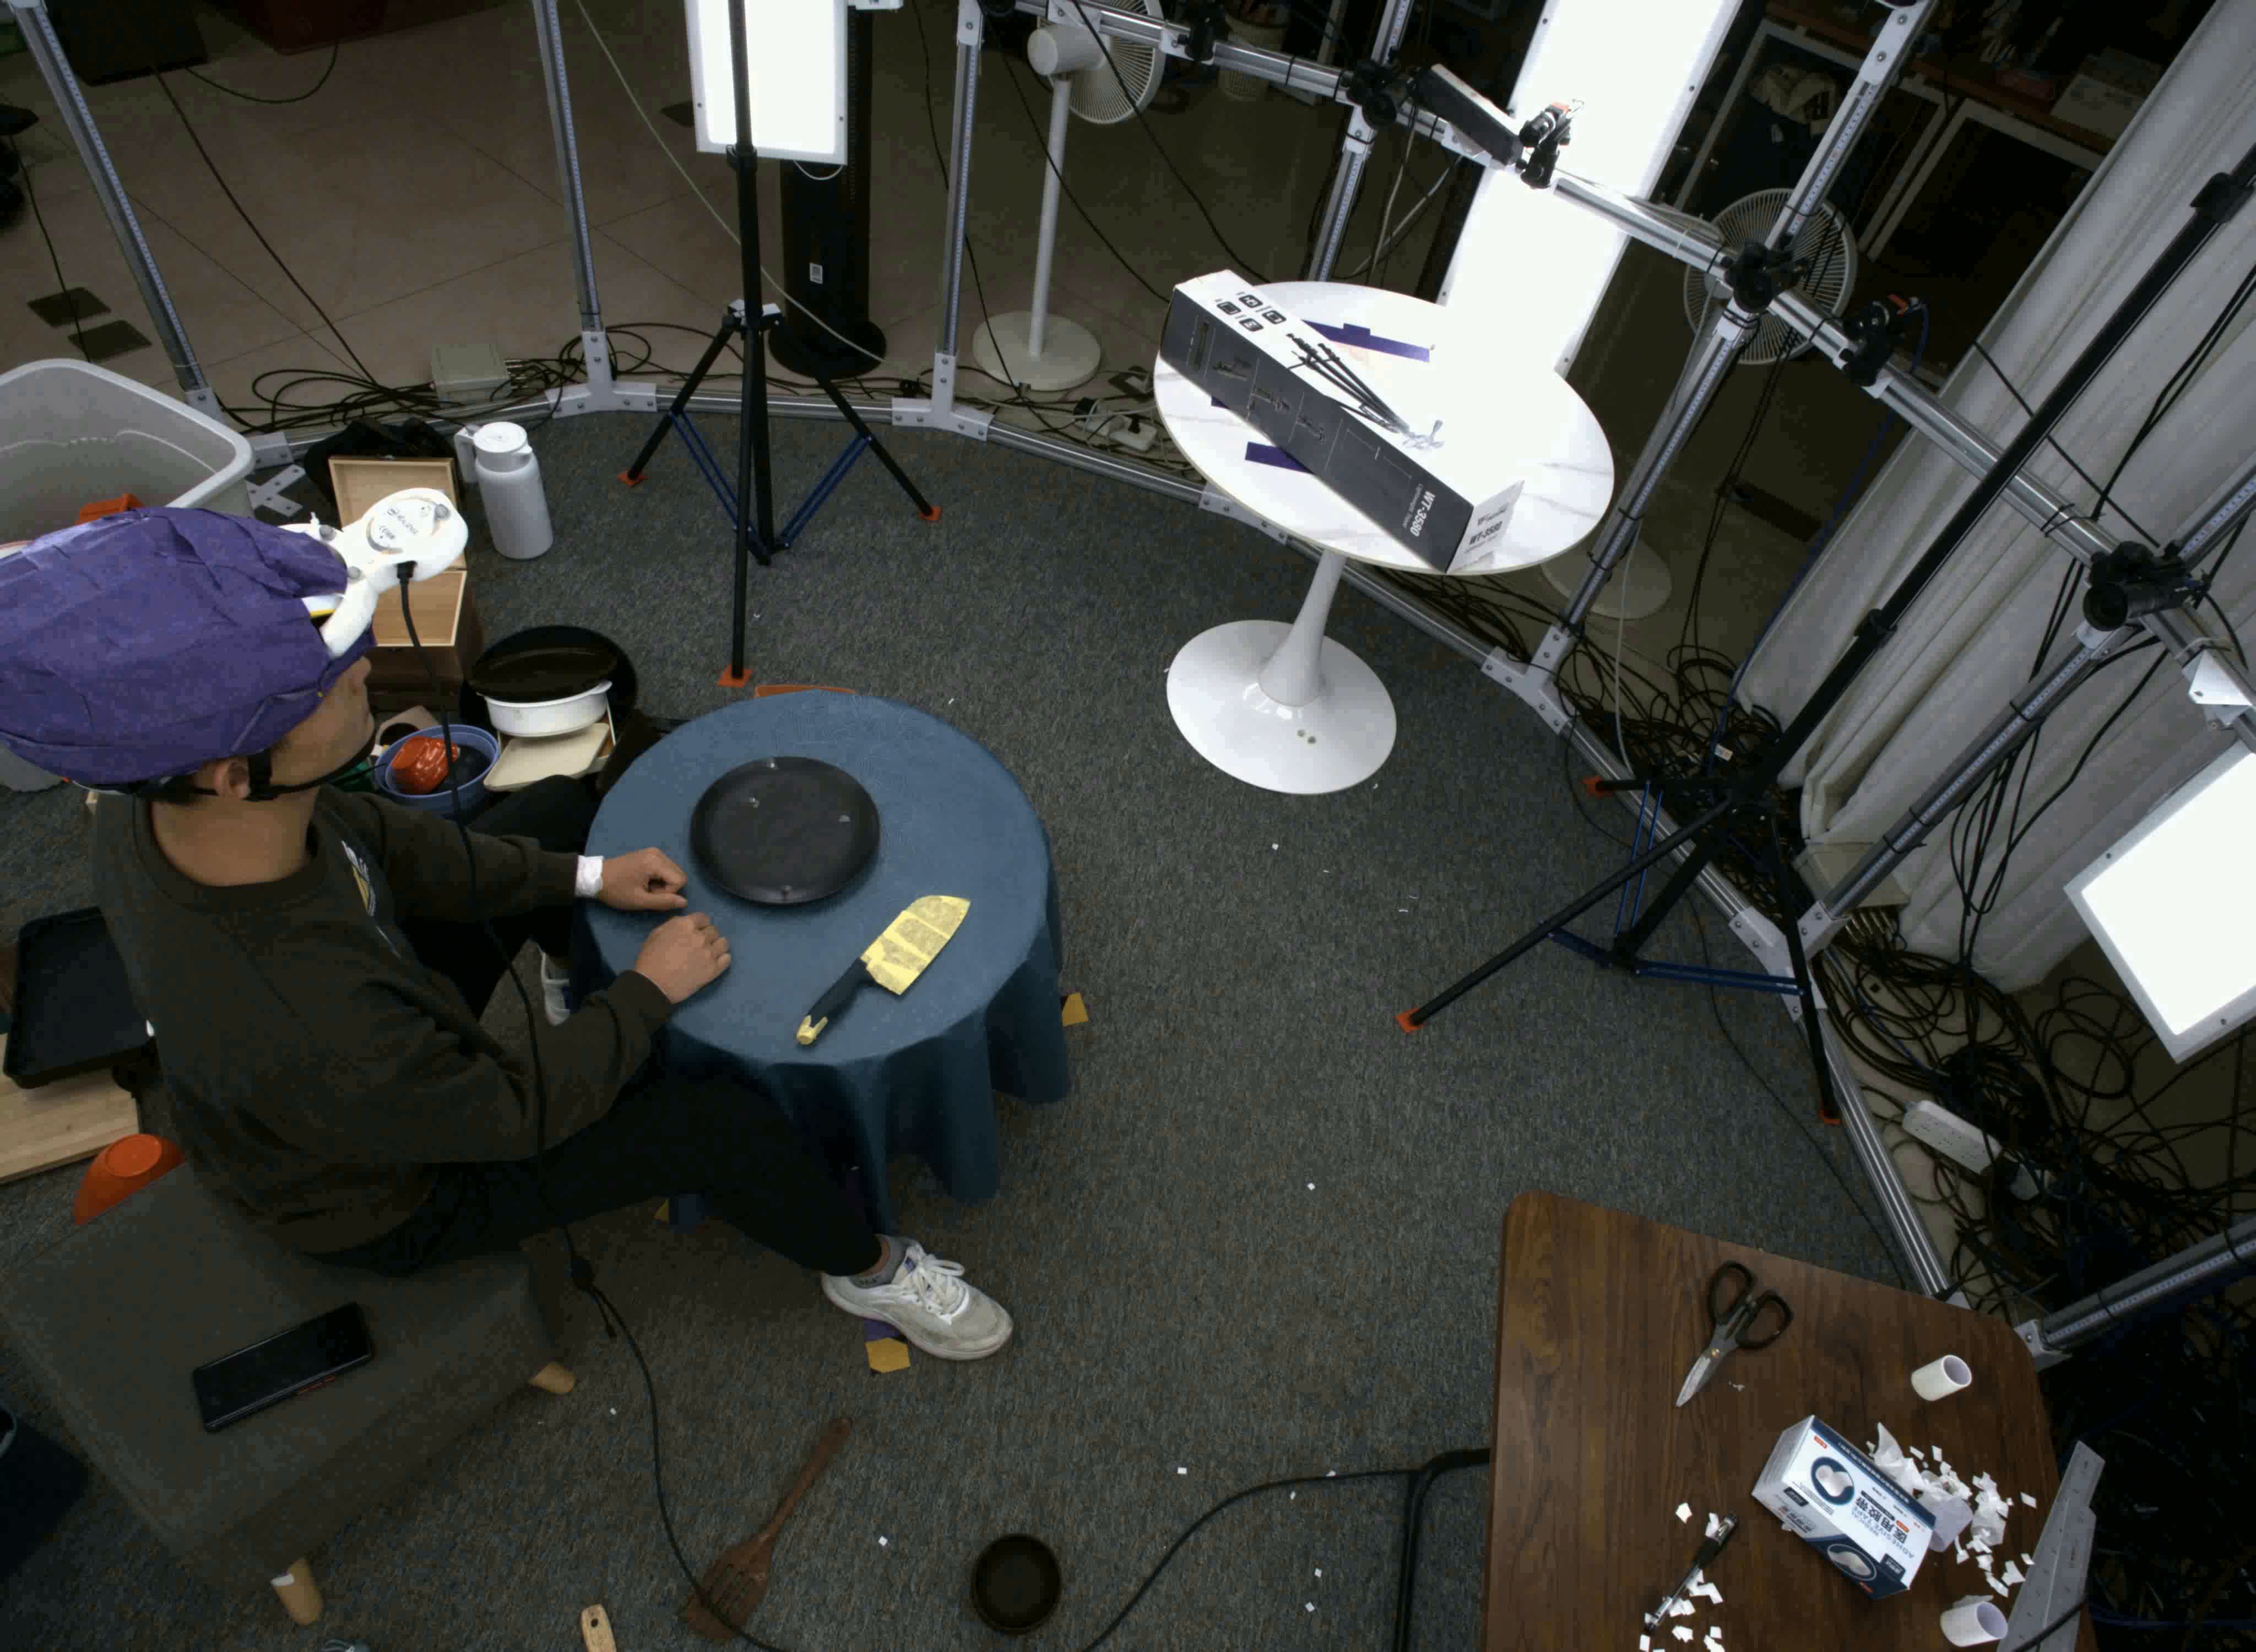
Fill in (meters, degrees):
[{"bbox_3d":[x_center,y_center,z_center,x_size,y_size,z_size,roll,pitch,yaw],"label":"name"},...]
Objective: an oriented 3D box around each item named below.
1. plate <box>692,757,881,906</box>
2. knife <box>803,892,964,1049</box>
[{"bbox_3d":[-0.448,0.007,1.709,0.244,0.024,0.240,8,53,-9],"label":"plate"},{"bbox_3d":[-0.300,0.175,1.628,0.079,0.028,0.289,32,52,12],"label":"knife"}]
